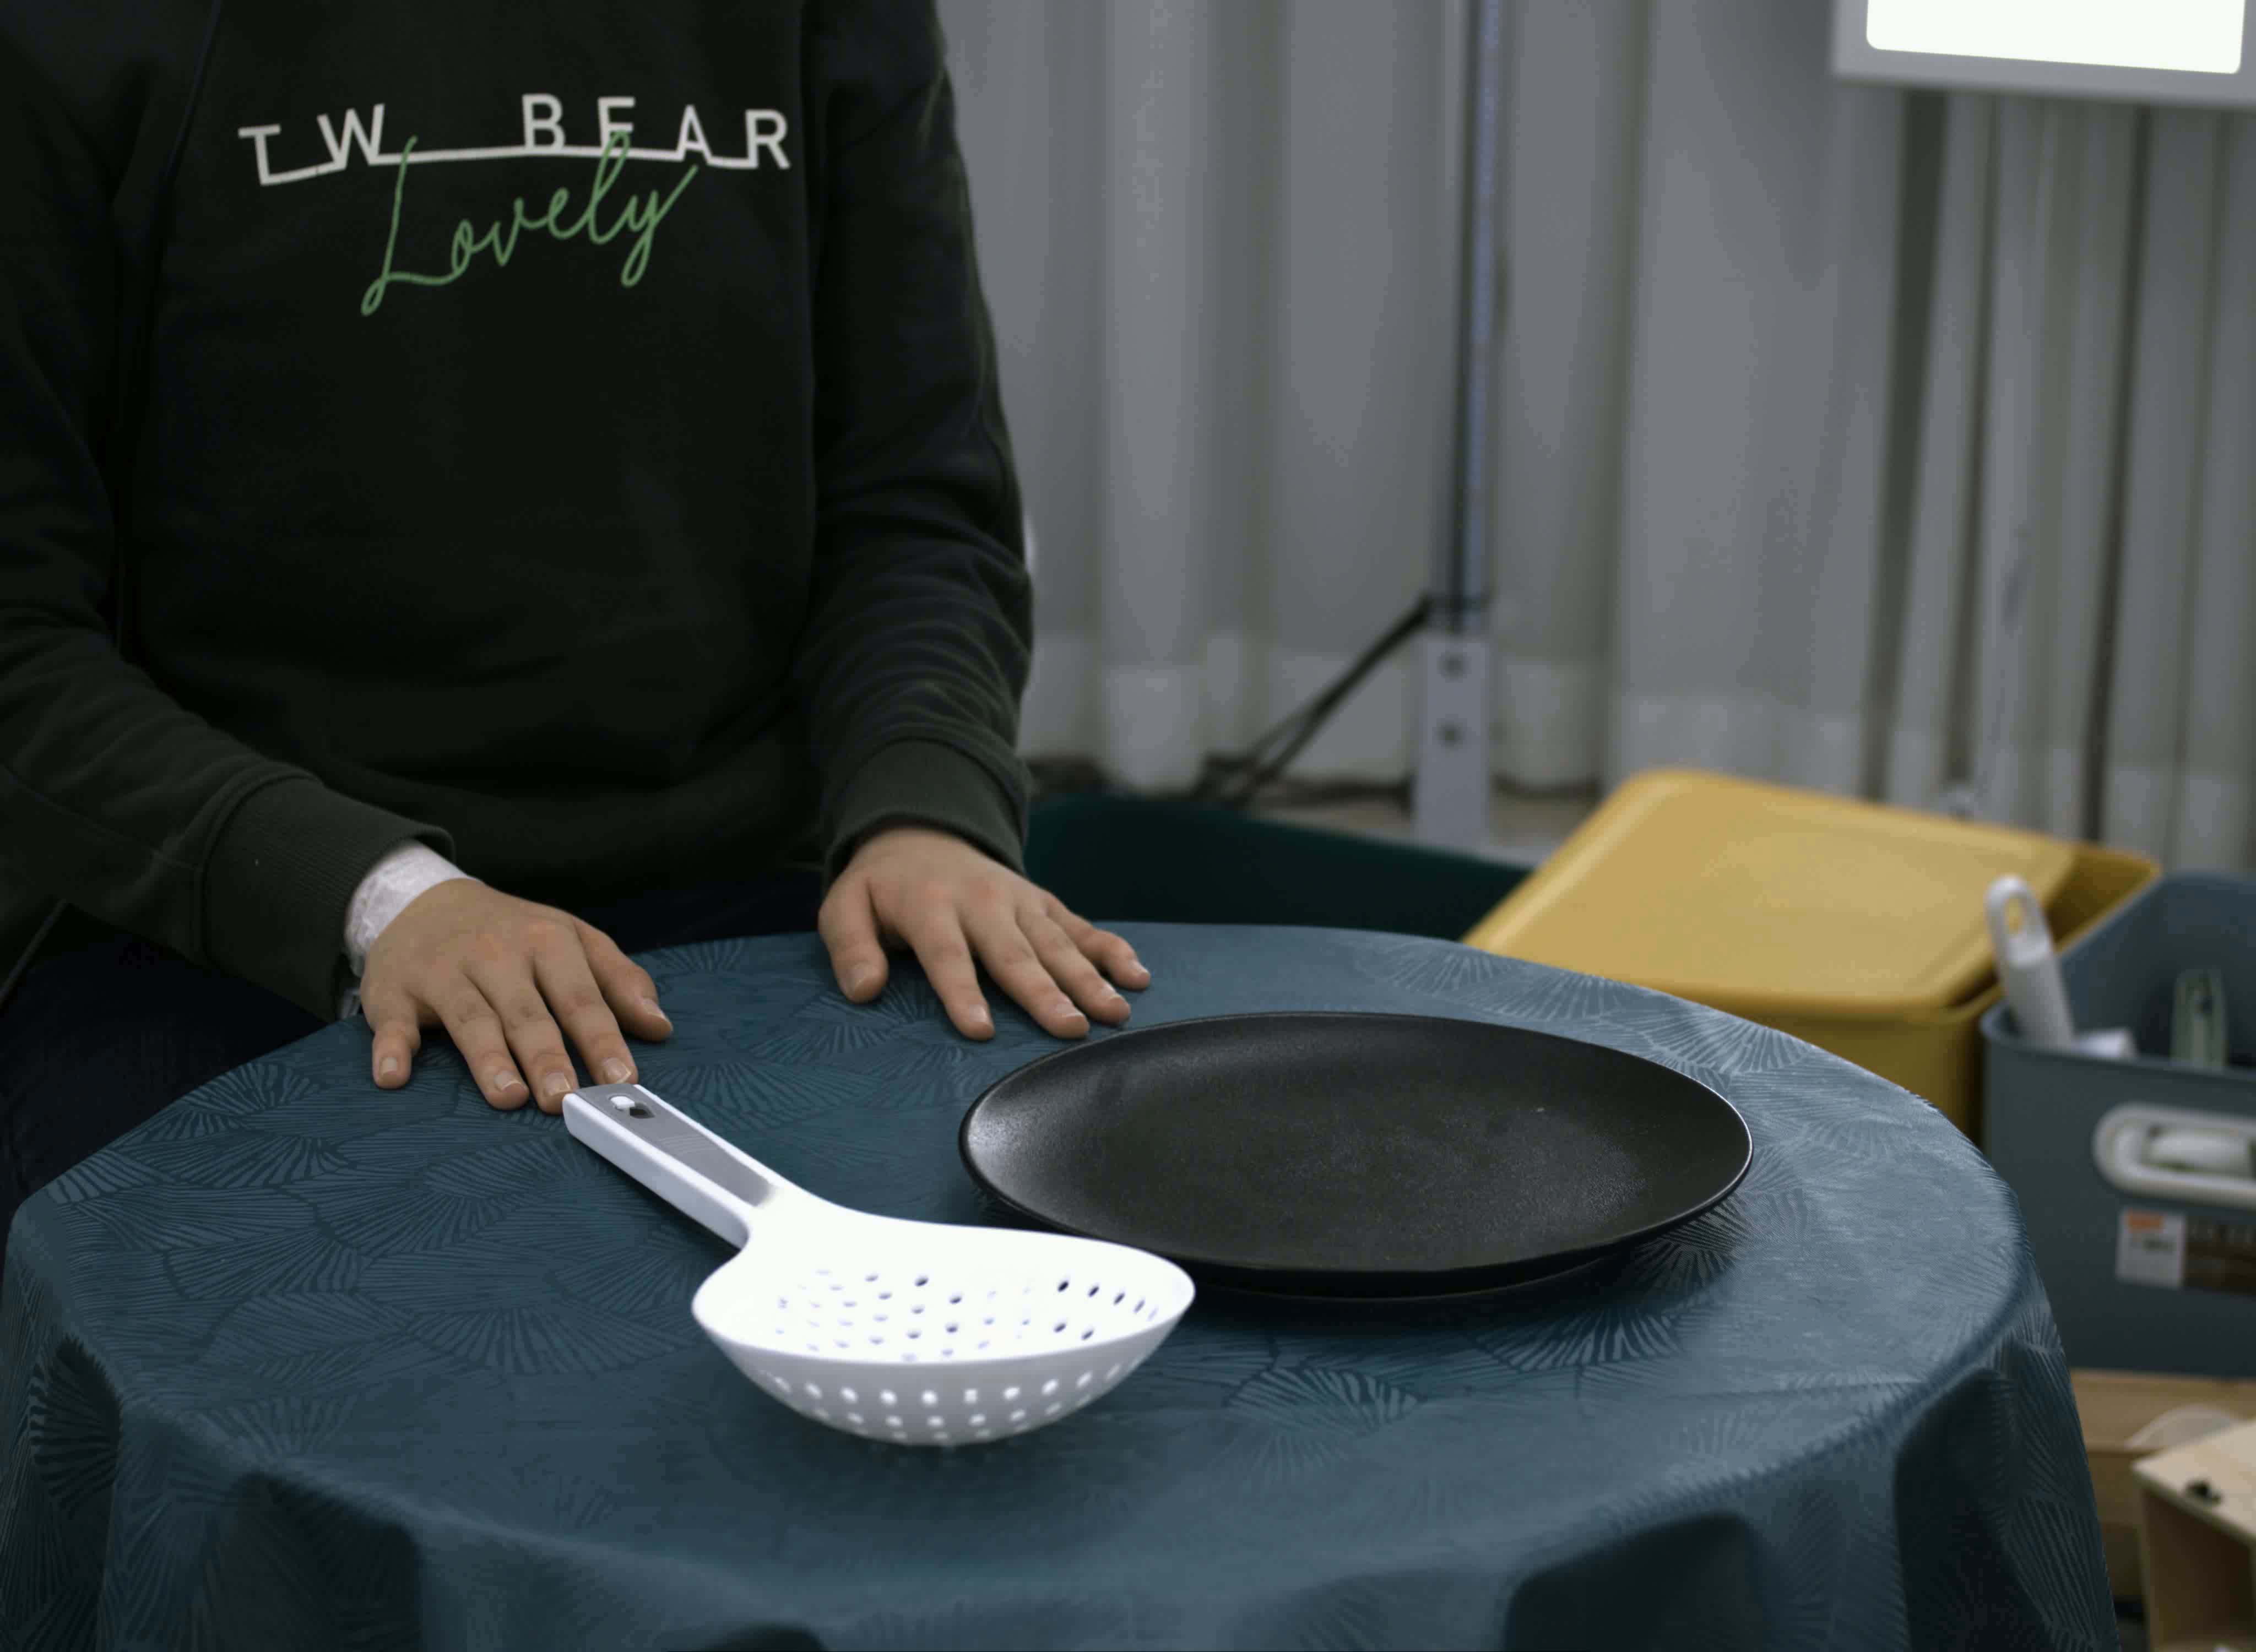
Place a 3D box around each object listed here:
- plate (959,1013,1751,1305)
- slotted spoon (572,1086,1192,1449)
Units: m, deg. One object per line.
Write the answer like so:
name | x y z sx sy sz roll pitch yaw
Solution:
plate | 0.070 0.104 1.618 0.243 0.023 0.243 1 16 0
slotted spoon | -0.095 0.118 1.521 0.136 0.046 0.345 -4 16 -24
